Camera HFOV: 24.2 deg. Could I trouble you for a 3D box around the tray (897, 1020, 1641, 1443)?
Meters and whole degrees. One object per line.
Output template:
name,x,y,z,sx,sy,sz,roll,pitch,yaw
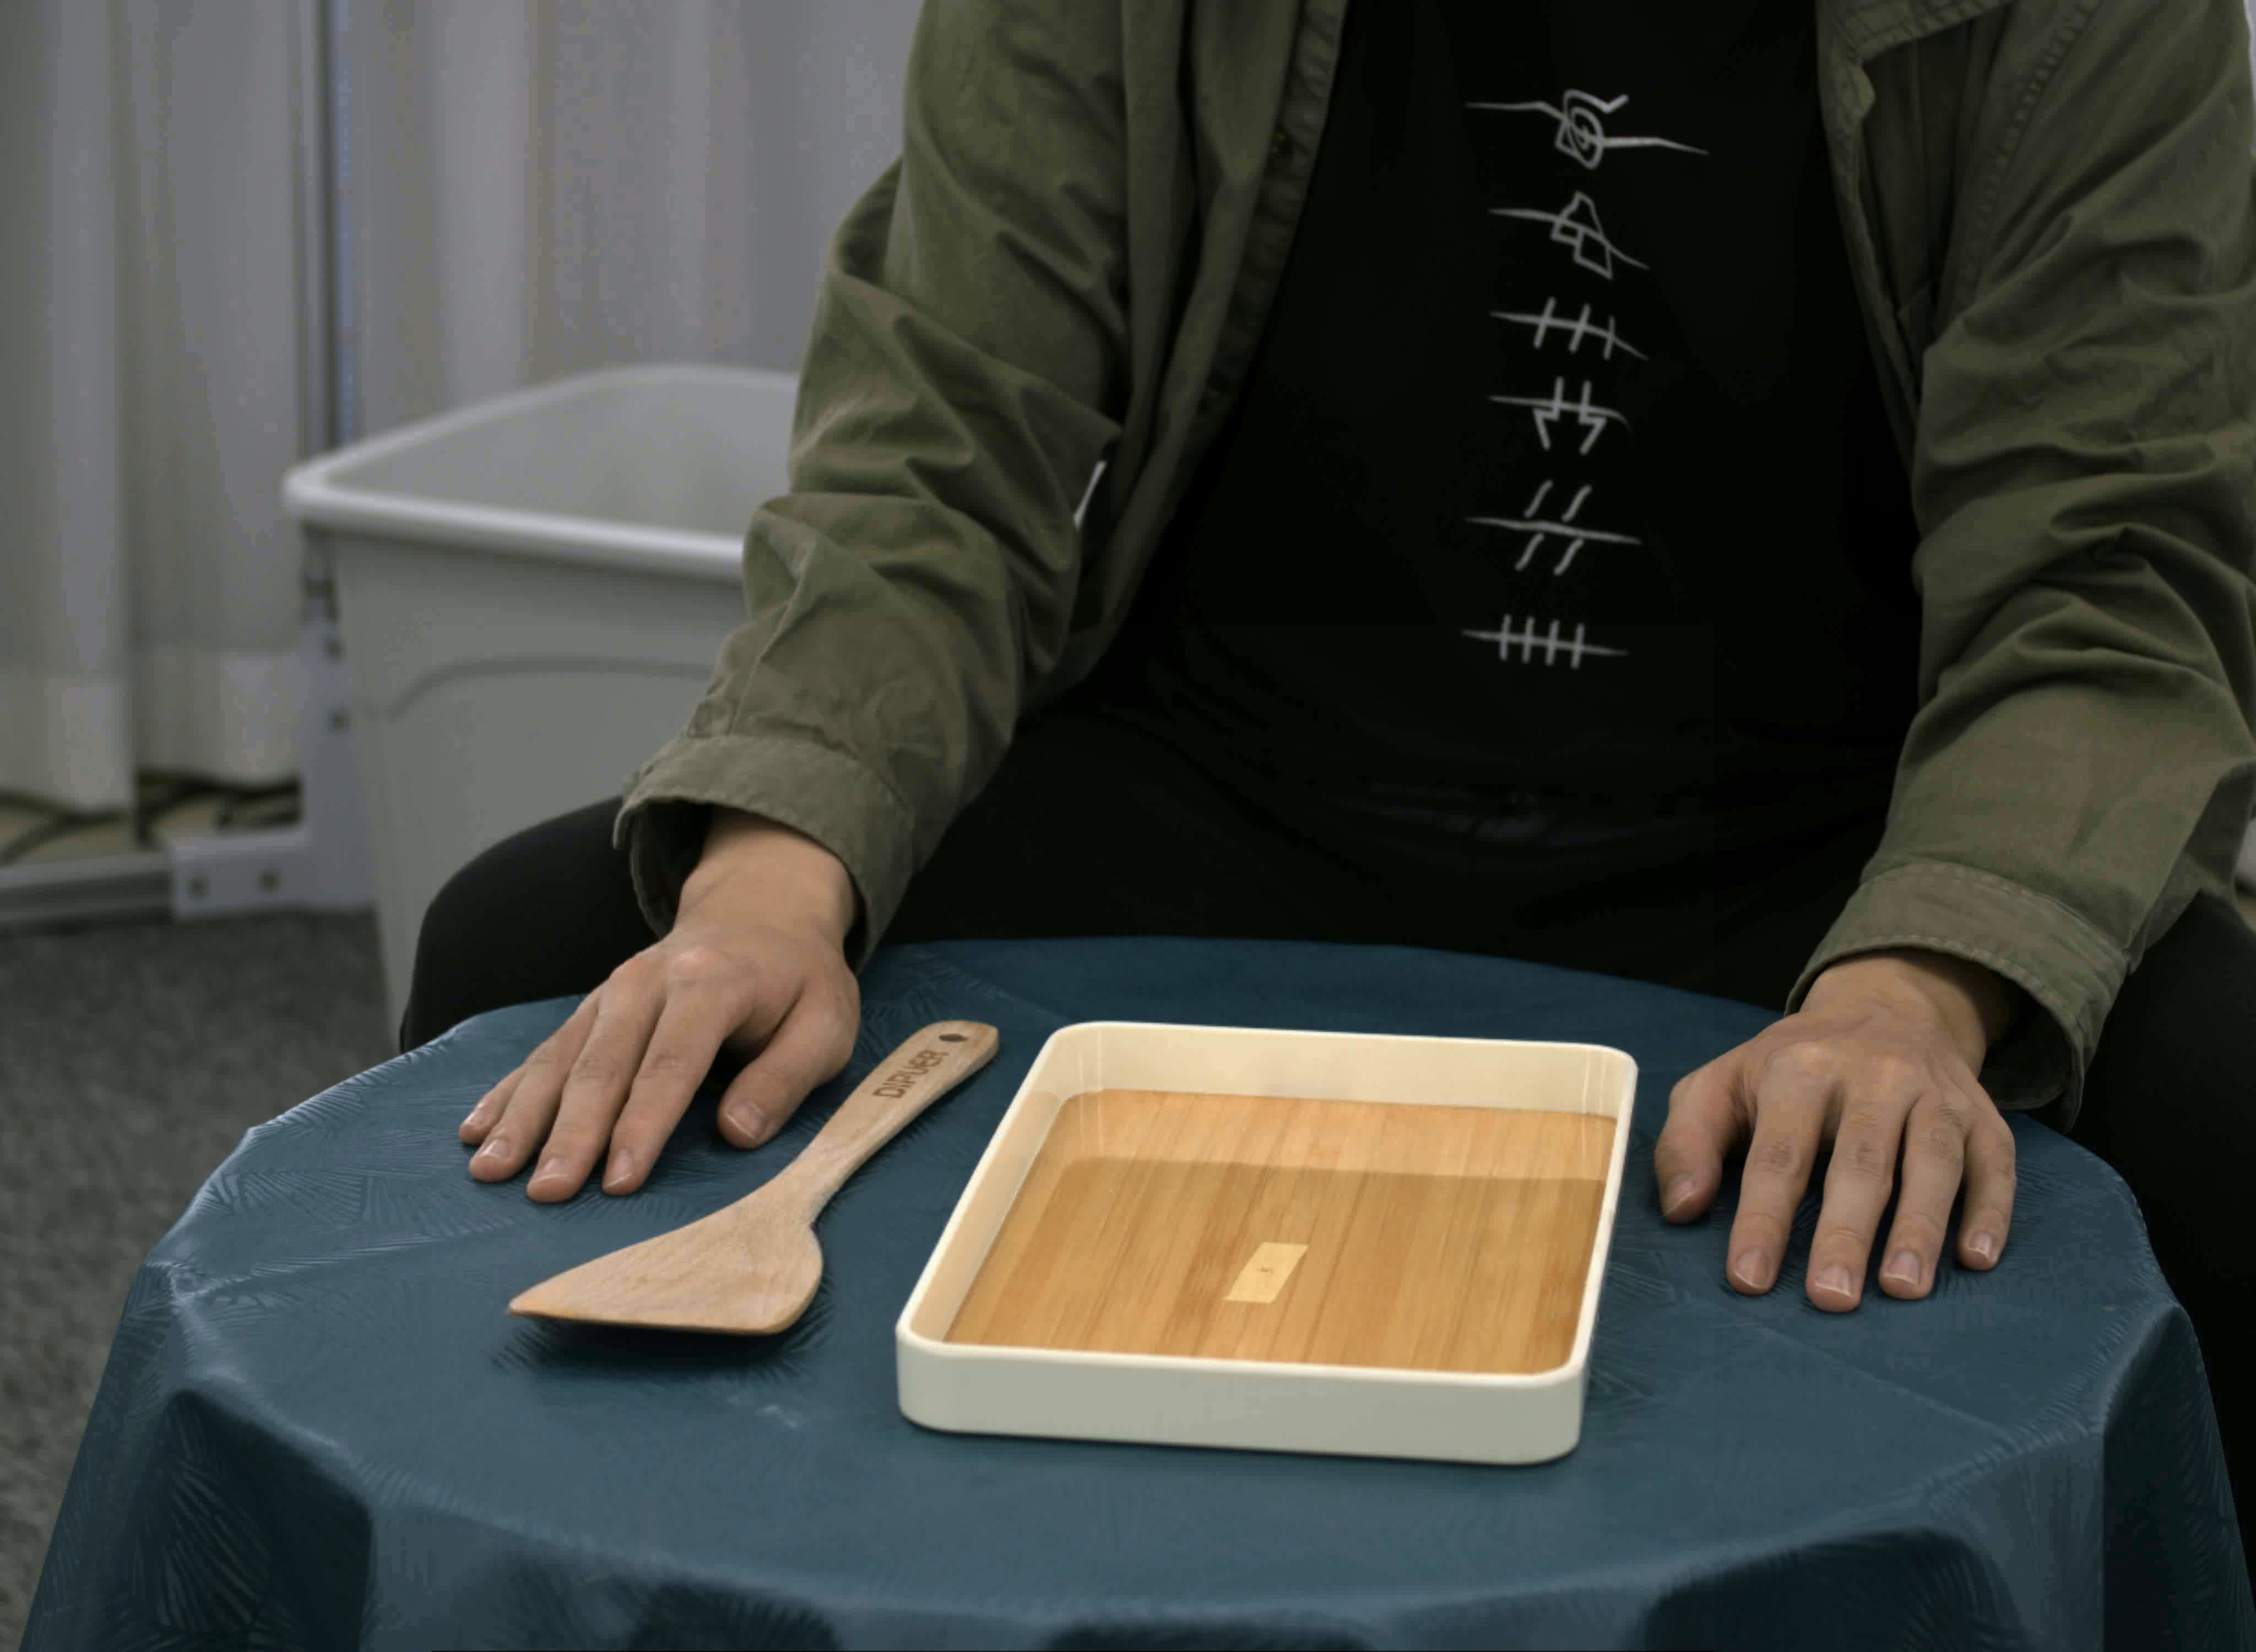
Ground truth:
tray,0.050,0.115,1.567,0.190,0.027,0.299,3,14,8

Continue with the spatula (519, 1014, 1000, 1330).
spatula,-0.095,0.103,1.628,0.079,0.016,0.327,5,16,14
